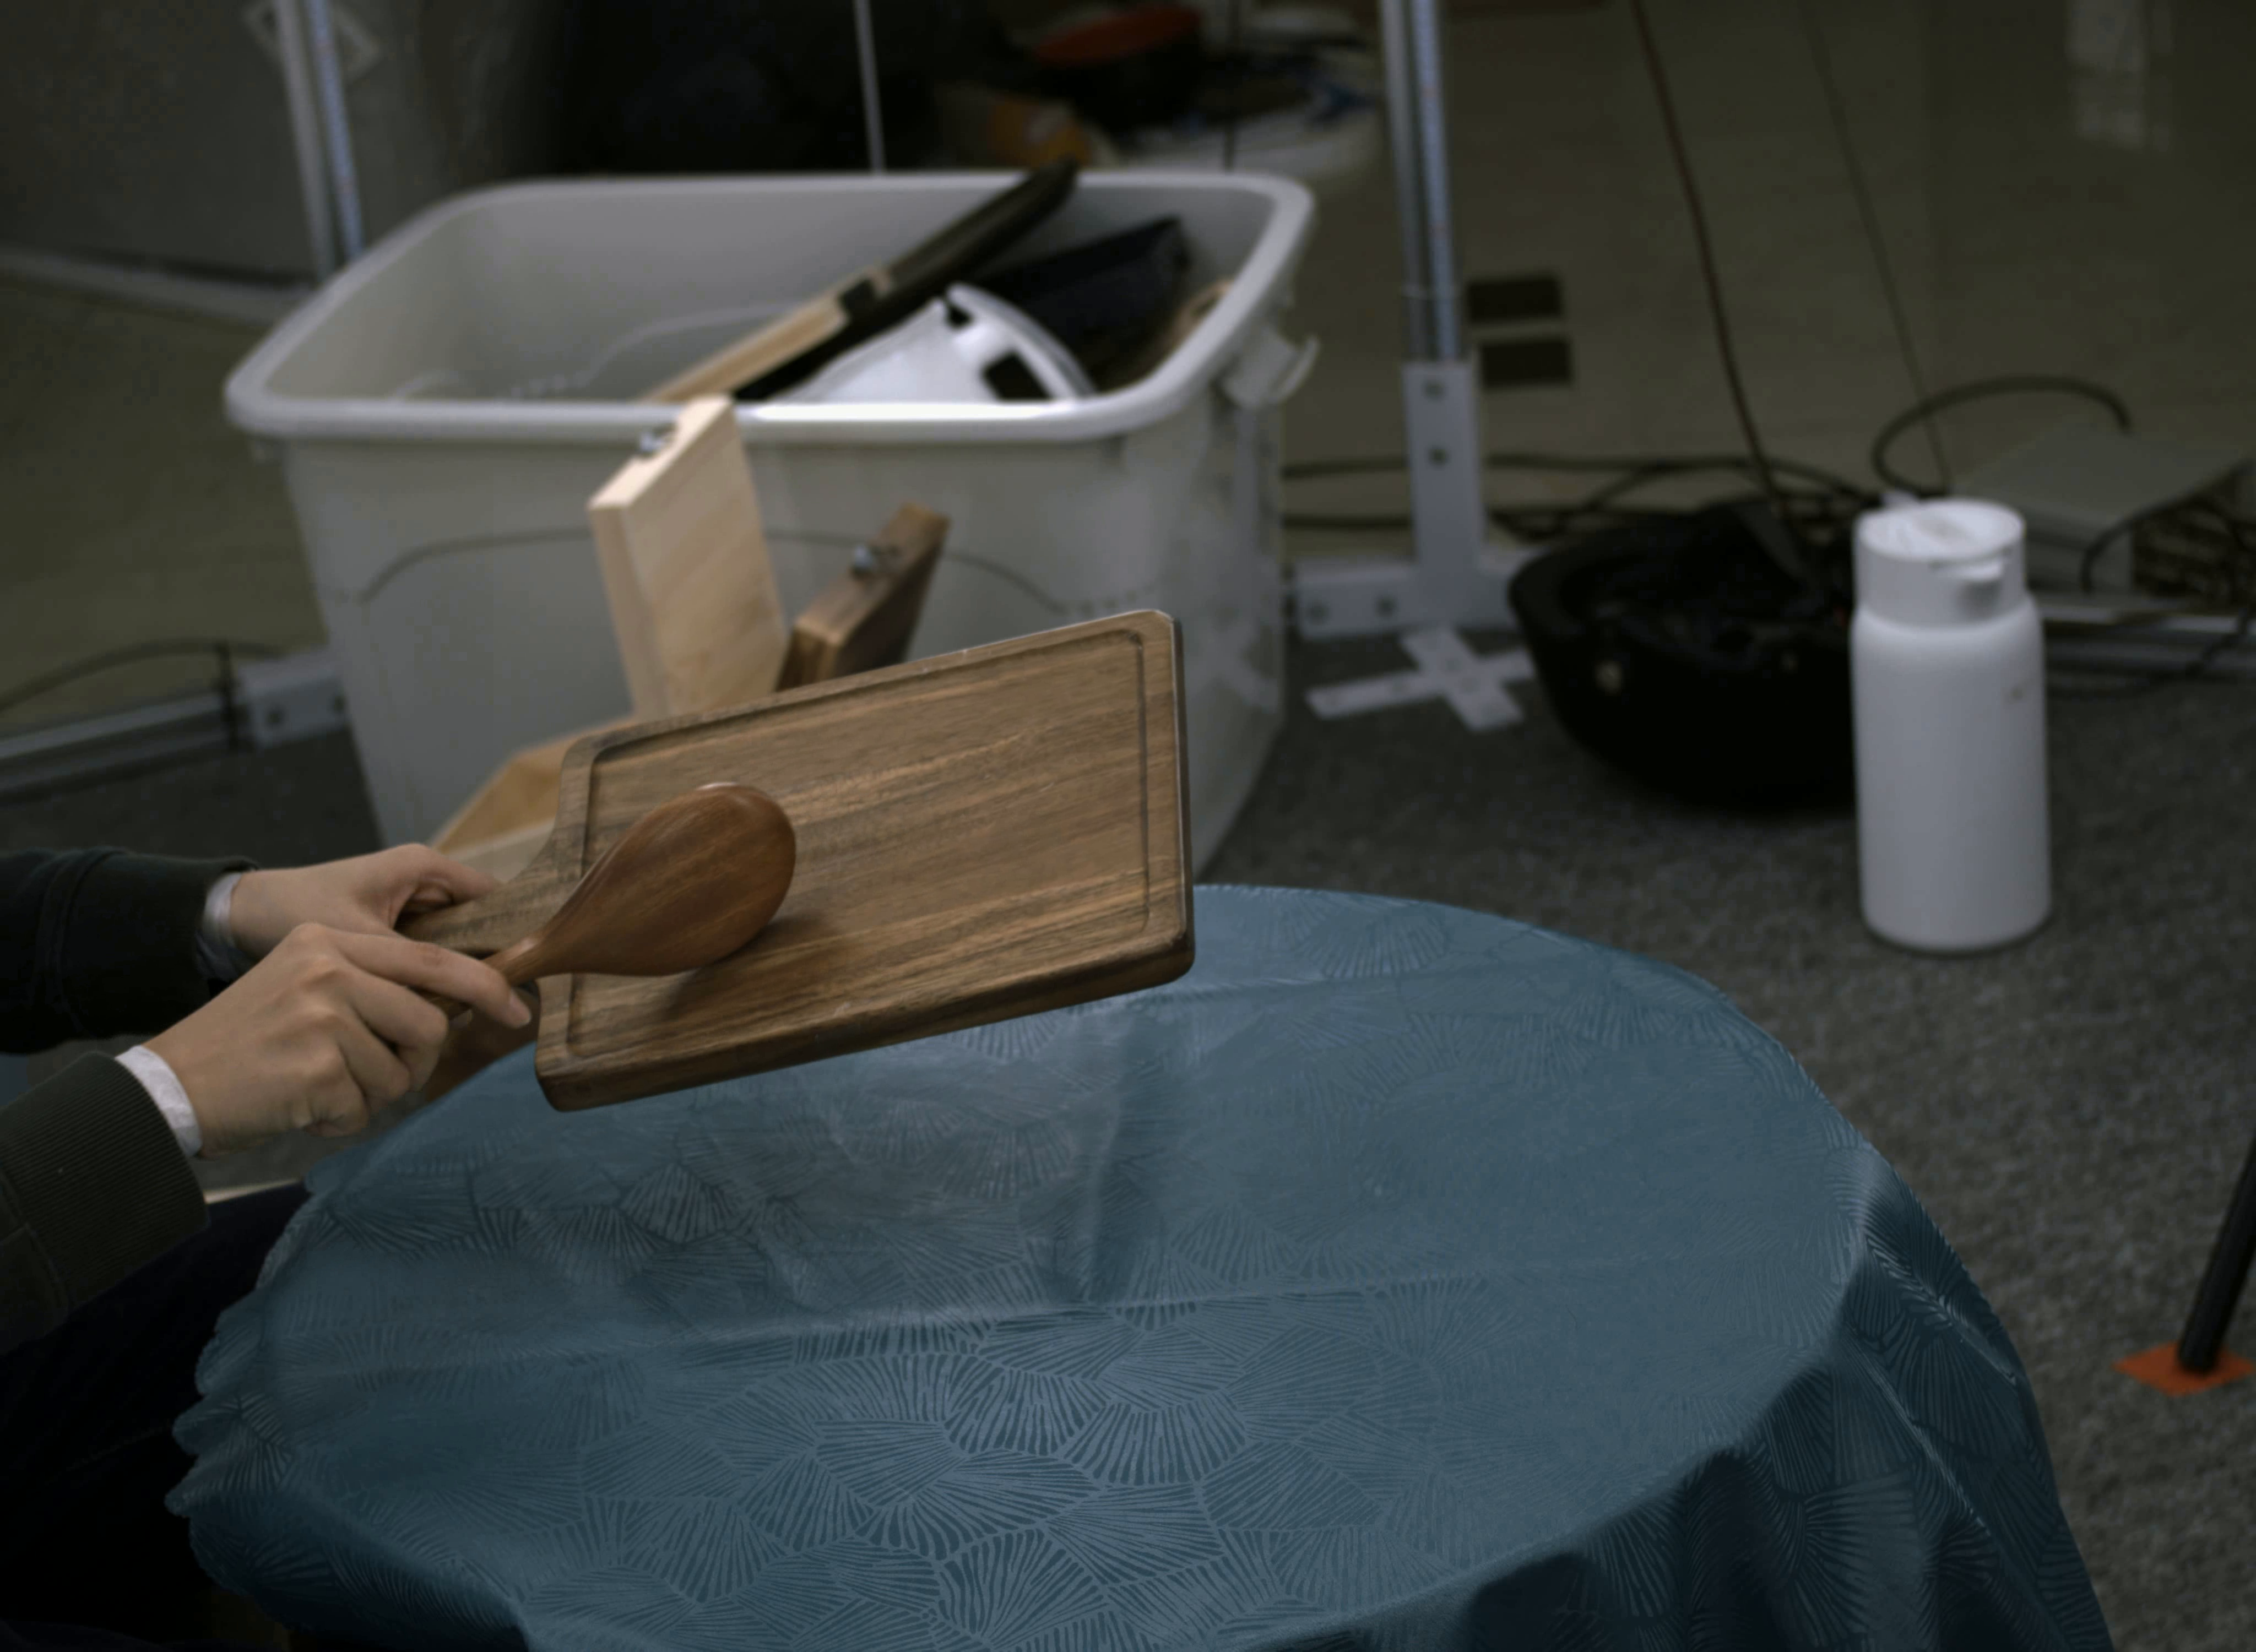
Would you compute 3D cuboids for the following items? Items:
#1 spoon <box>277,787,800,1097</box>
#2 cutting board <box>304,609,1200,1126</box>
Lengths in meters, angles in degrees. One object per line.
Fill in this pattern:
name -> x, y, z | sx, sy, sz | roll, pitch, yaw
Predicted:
spoon -> -0.211, 0.047, 2.069 | 0.214, 0.077, 0.017 | -25, 43, -21
cutting board -> -0.146, 0.023, 2.152 | 0.352, 0.023, 0.197 | -13, 43, 10
